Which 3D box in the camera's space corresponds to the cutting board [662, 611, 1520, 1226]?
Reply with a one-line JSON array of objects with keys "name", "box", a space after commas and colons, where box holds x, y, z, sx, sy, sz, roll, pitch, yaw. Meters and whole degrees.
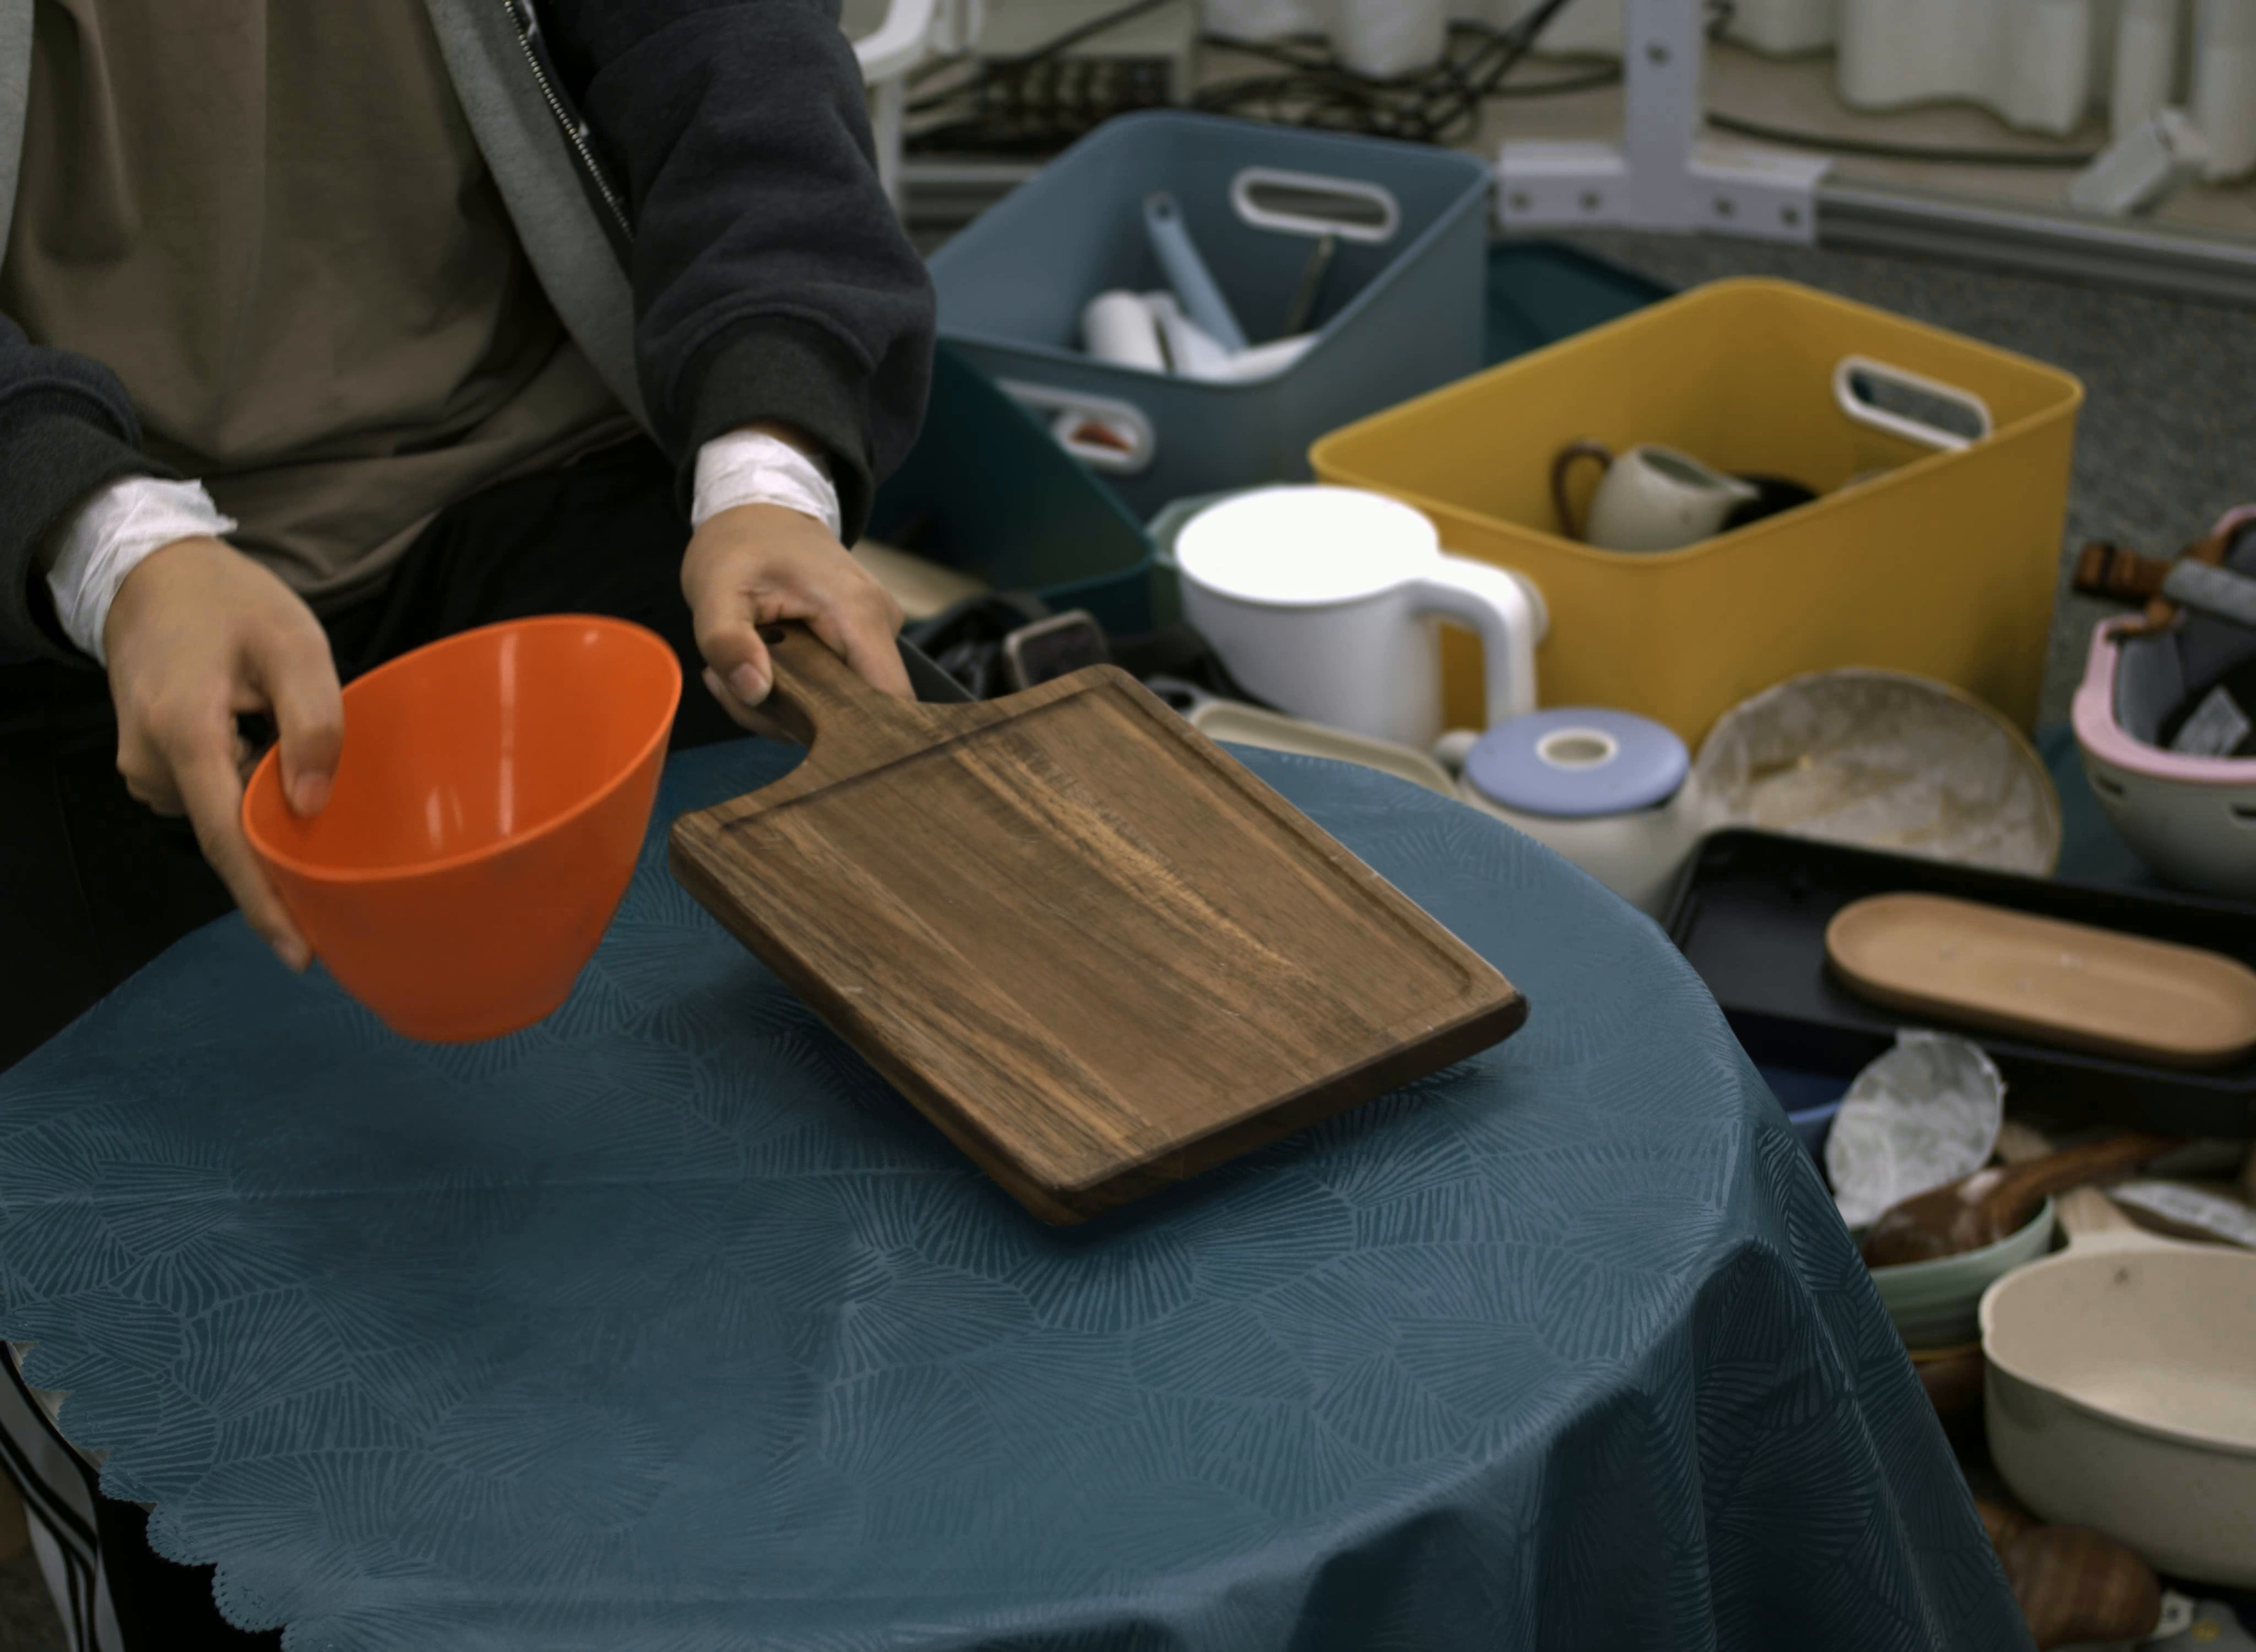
[{"name": "cutting board", "box": [-0.043, 0.011, 1.976, 0.203, 0.023, 0.354, -21, 40, -29]}]

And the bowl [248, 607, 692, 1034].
[{"name": "bowl", "box": [-0.208, 0.005, 1.830, 0.147, 0.103, 0.150, -5, 29, 3]}]
